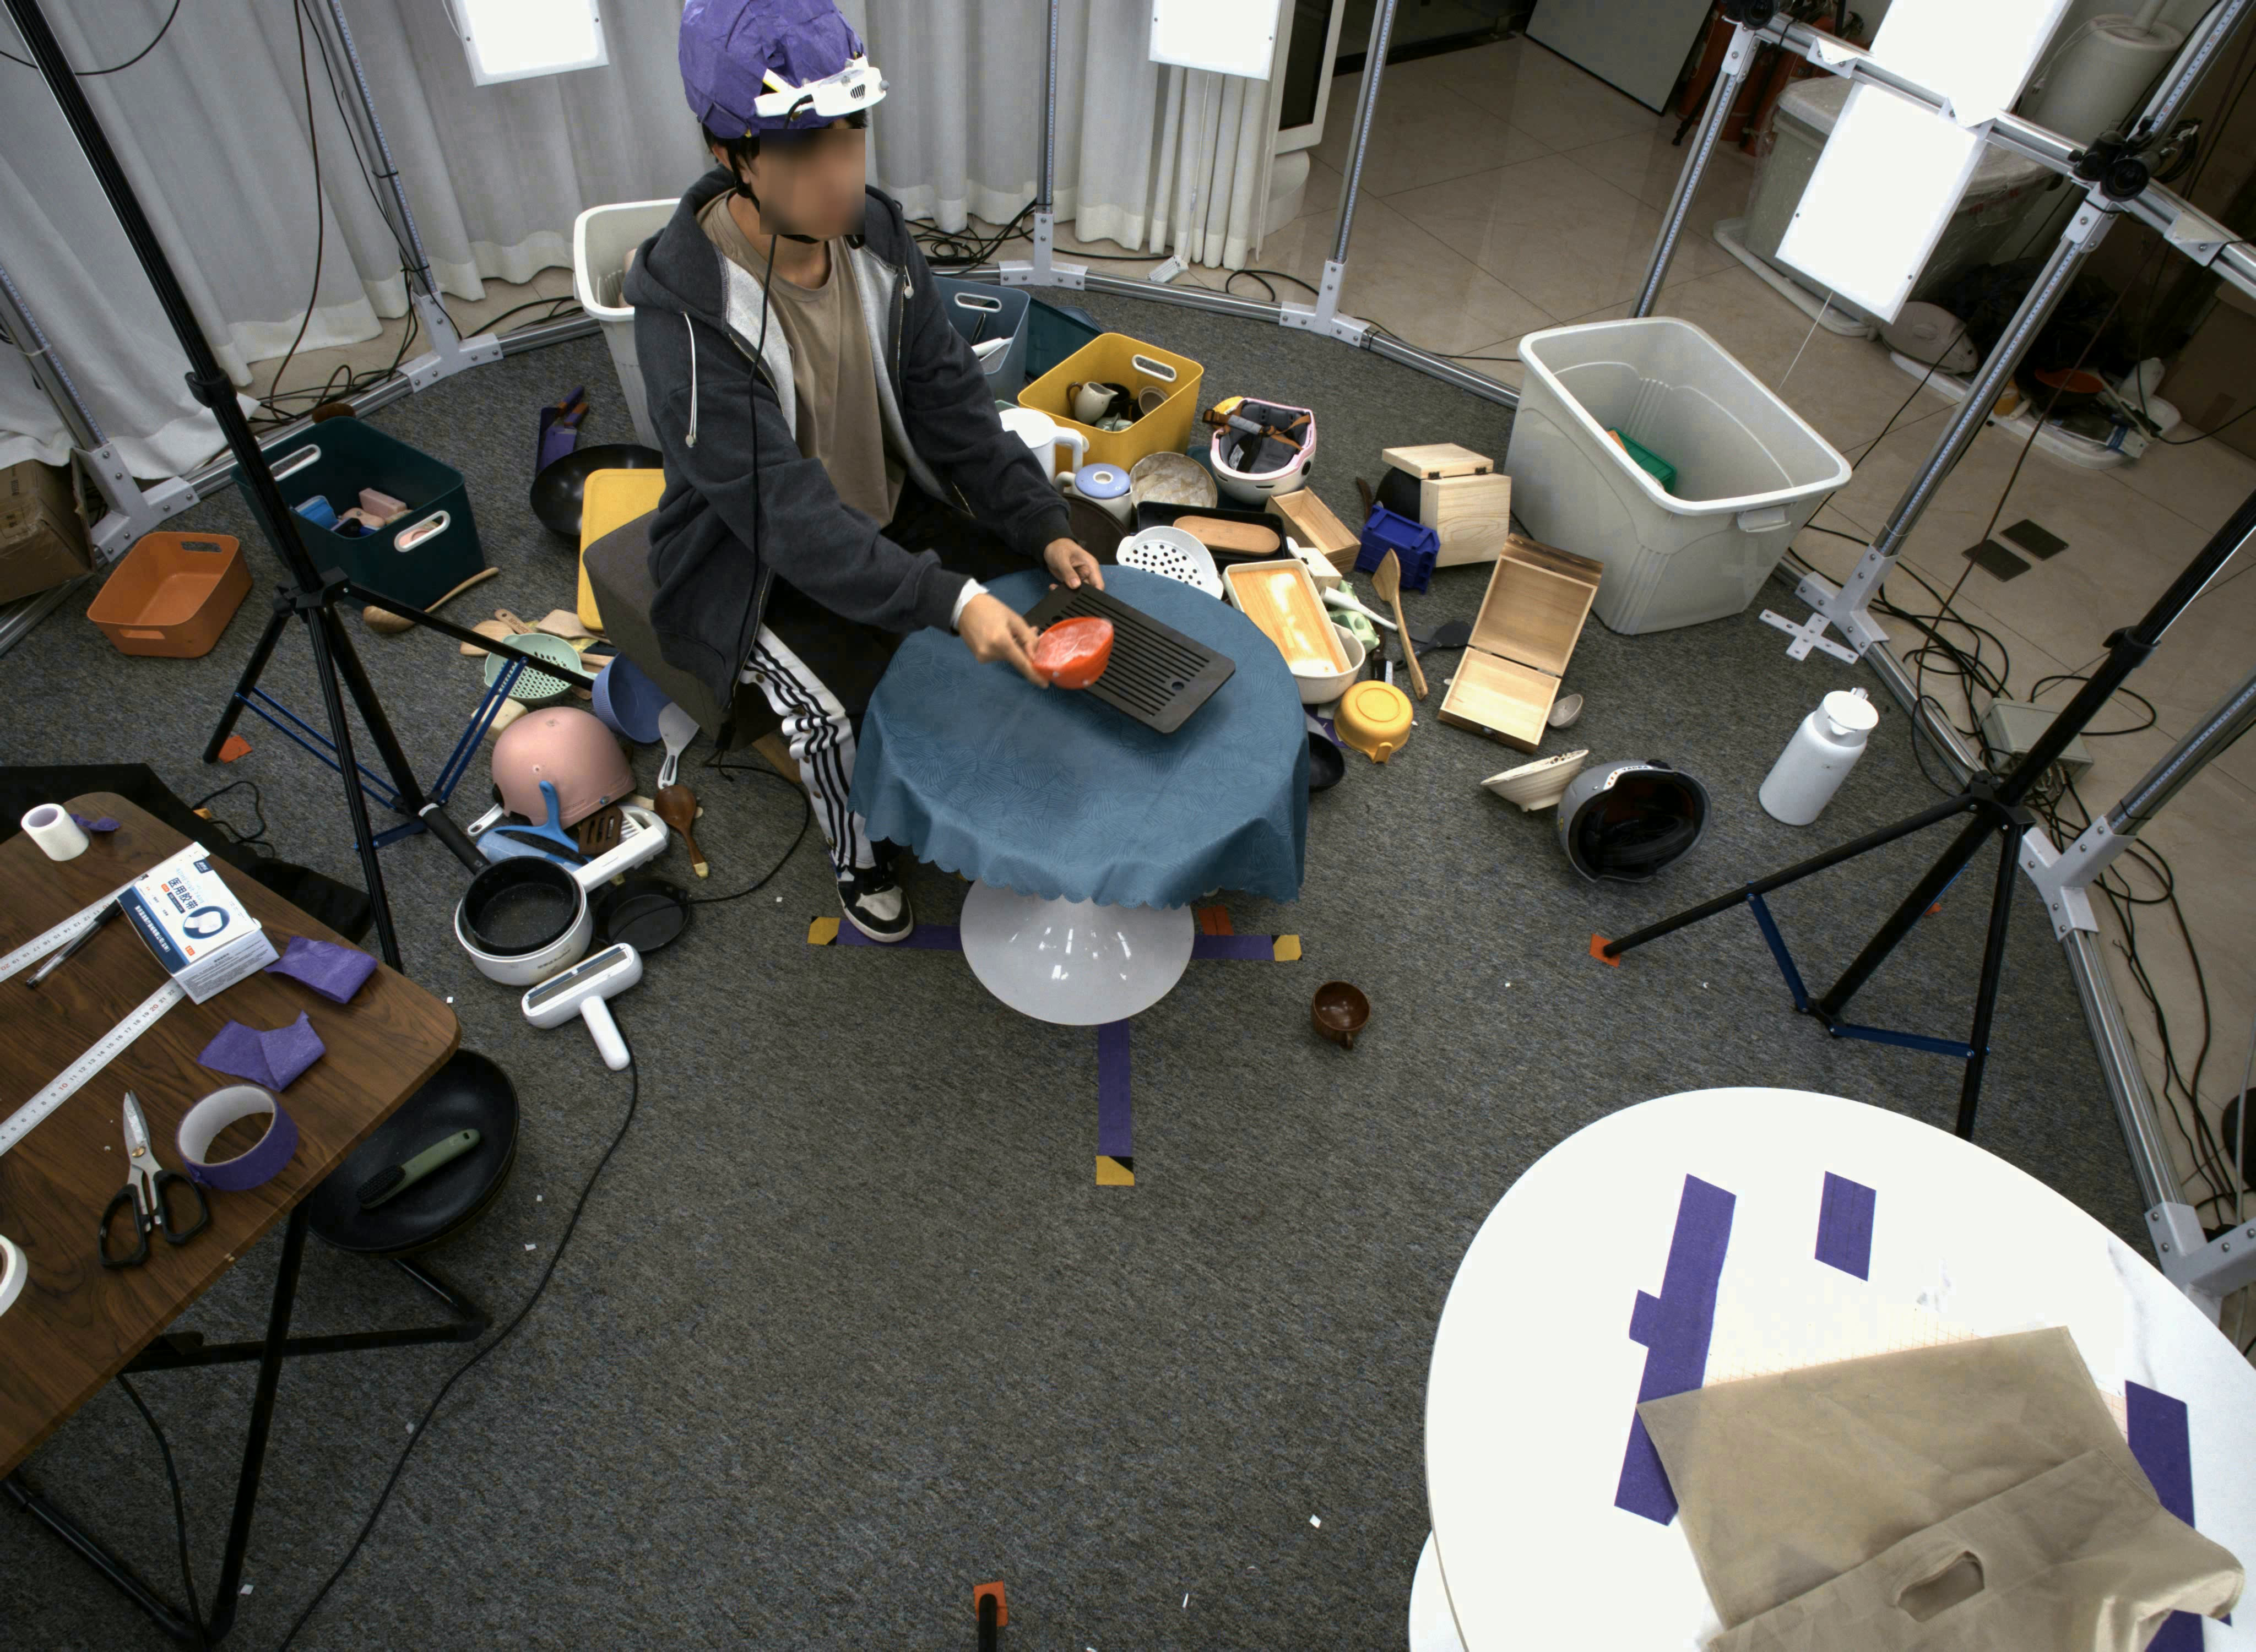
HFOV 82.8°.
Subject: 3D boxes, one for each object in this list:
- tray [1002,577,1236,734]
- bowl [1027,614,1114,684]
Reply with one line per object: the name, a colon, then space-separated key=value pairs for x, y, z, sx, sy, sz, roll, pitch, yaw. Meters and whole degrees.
tray: x=-0.014 y=-0.245 z=1.827 sx=0.309 sy=0.018 sz=0.172 roll=31 pitch=58 yaw=23
bowl: x=-0.068 y=-0.225 z=1.672 sx=0.119 sy=0.050 sz=0.122 roll=-14 pitch=36 yaw=10
